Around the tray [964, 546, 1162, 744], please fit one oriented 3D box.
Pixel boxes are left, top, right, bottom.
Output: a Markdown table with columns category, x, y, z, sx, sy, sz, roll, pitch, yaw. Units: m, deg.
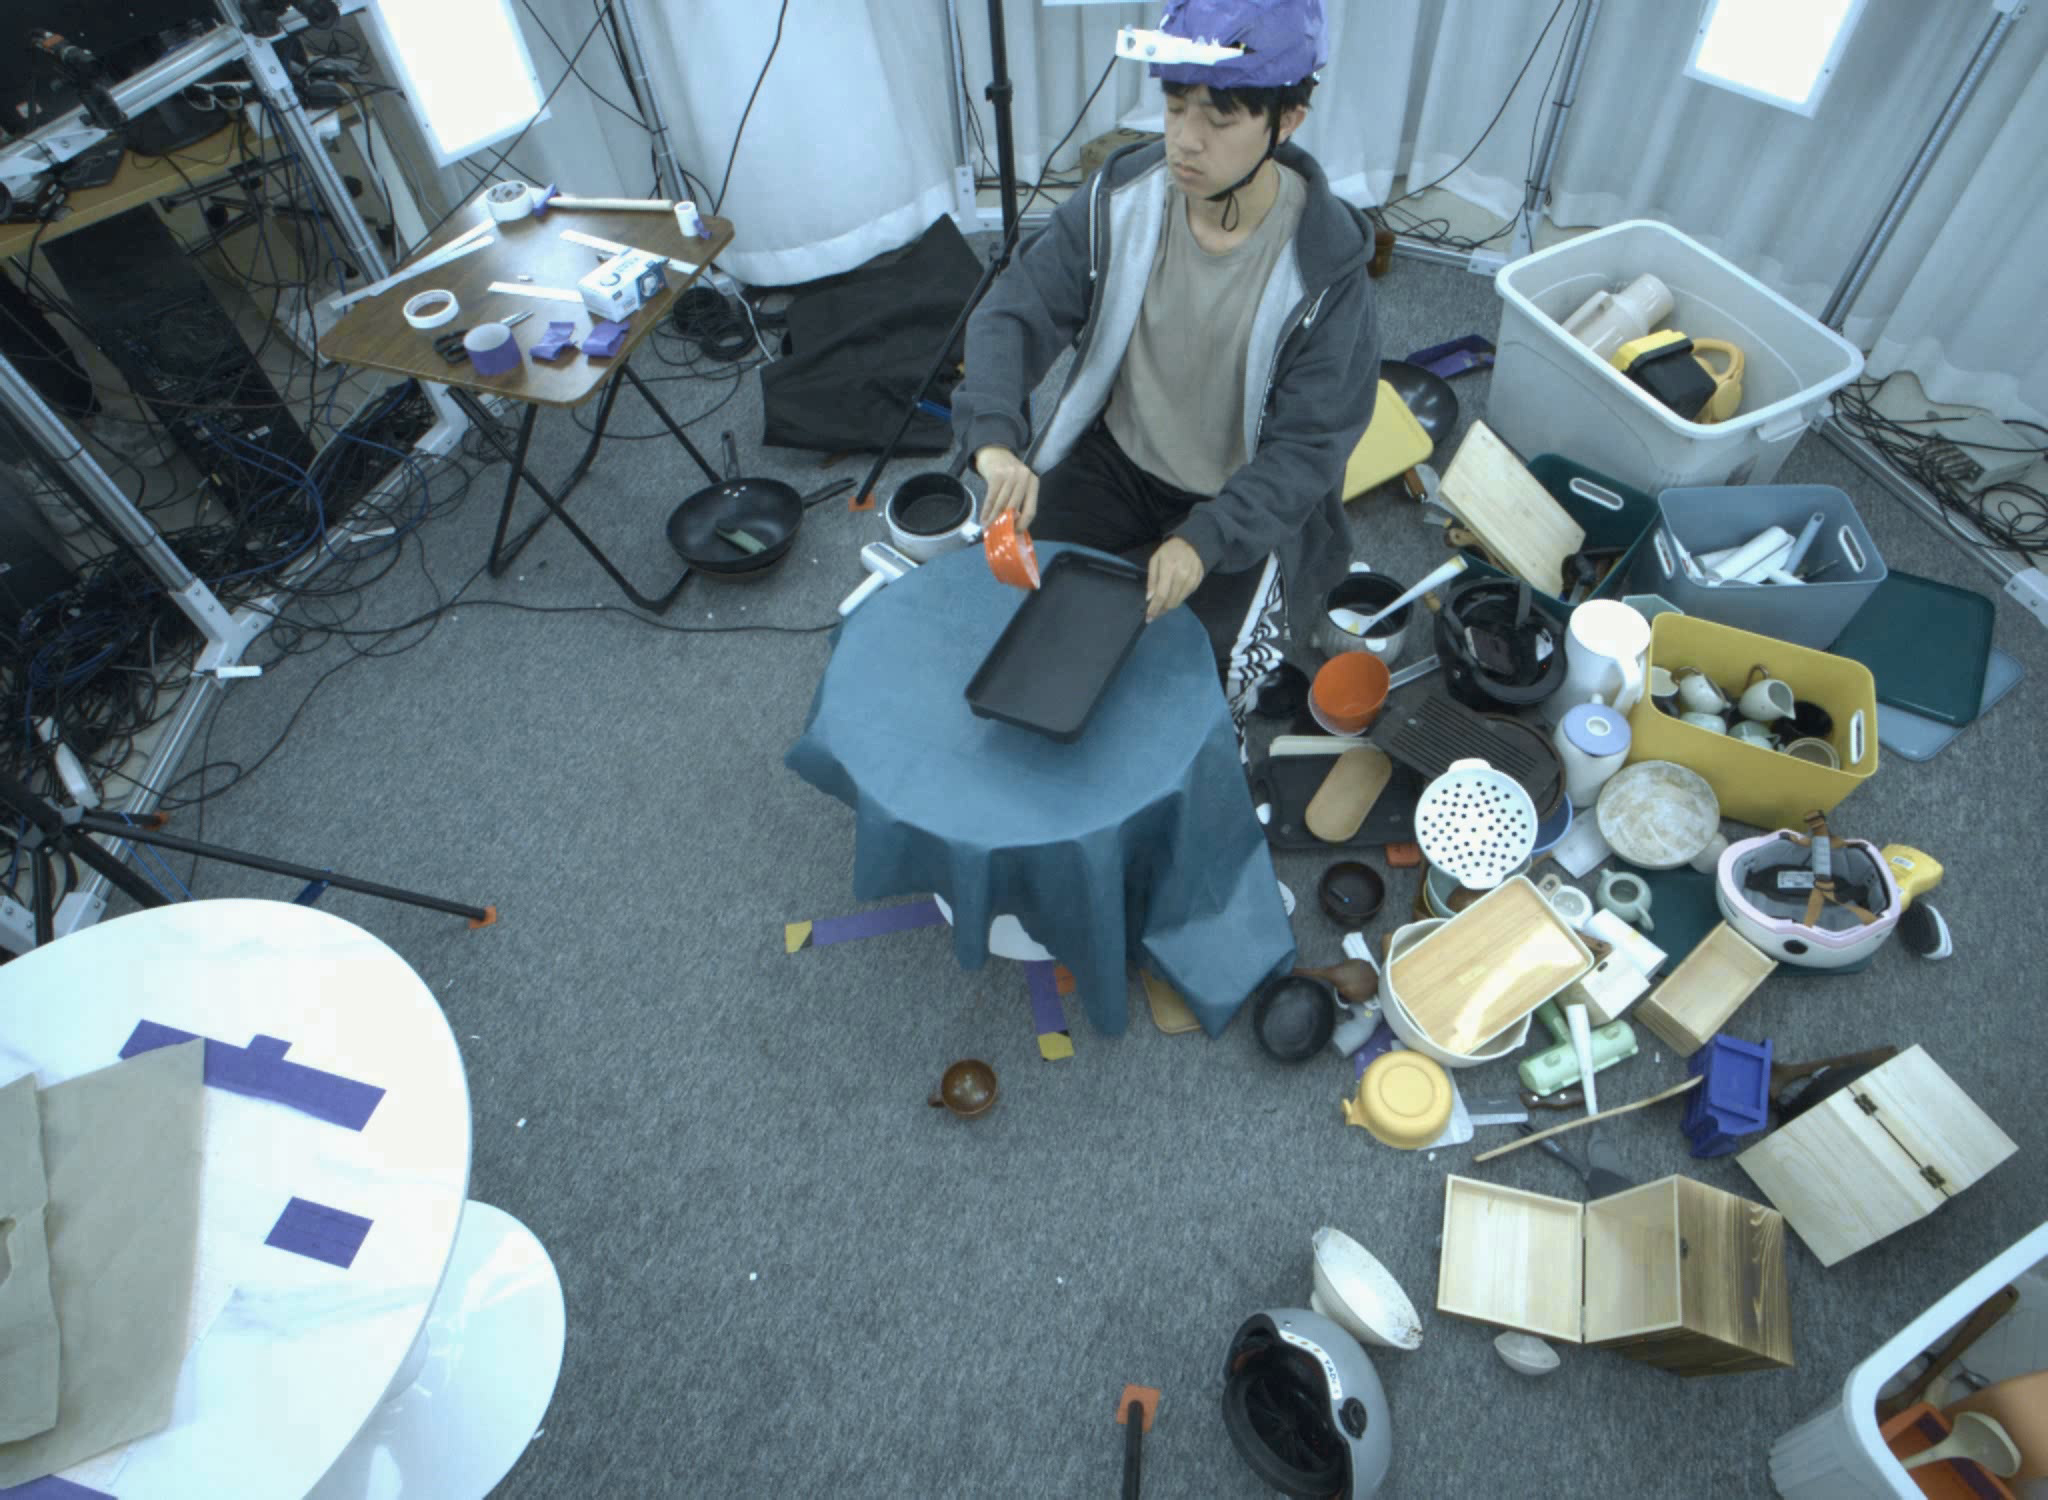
| category | x | y | z | sx | sy | sz | roll | pitch | yaw |
| --- | --- | --- | --- | --- | --- | --- | --- | --- | --- |
| tray | 0.061 | -0.159 | 1.785 | 0.181 | 0.037 | 0.318 | 19 | 61 | 21 |

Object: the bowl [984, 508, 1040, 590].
| category | x | y | z | sx | sy | sz | roll | pitch | yaw |
| --- | --- | --- | --- | --- | --- | --- | --- | --- | --- |
| bowl | -0.021 | -0.275 | 1.711 | 0.051 | 0.121 | 0.117 | -15 | 54 | 13 |
